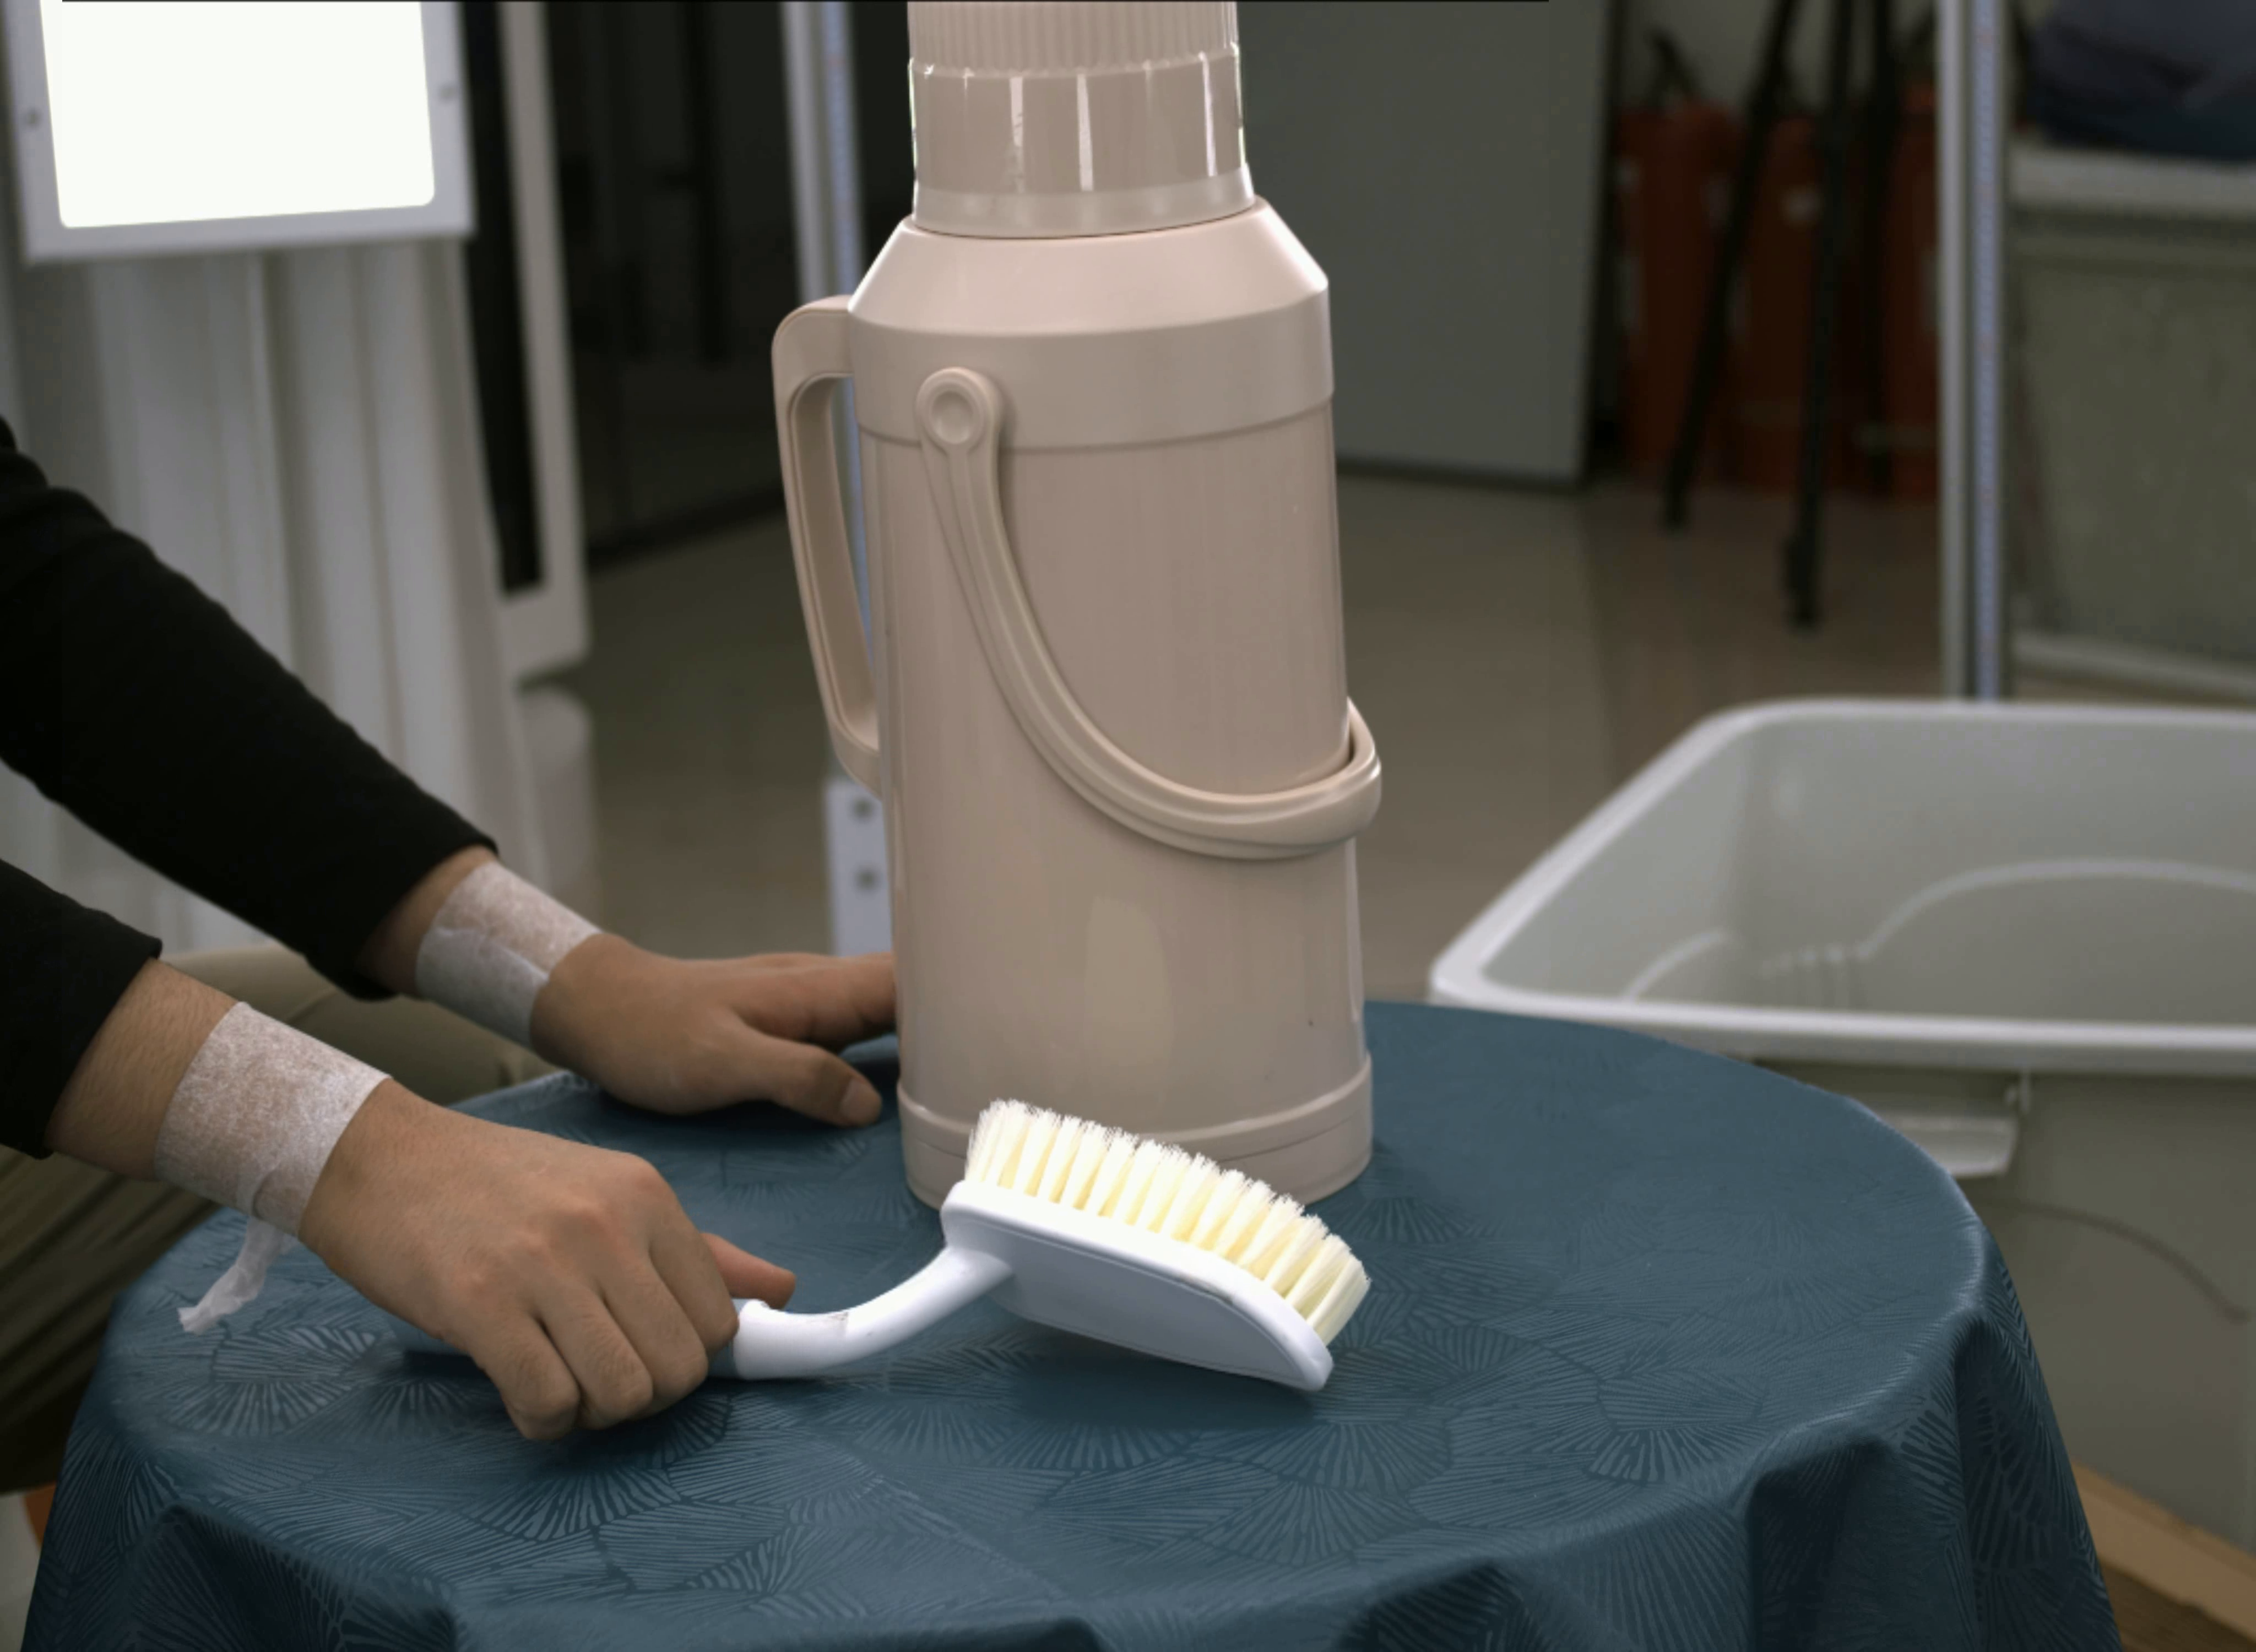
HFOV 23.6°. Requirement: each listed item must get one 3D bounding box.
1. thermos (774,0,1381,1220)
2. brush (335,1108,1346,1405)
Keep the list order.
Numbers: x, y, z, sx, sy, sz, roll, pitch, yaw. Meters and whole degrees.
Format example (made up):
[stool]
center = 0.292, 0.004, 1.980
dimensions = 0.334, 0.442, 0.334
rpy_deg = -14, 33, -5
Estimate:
[thermos]
center = -0.019, -0.082, 1.765
dimensions = 0.208, 0.410, 0.173
rpy_deg = 4, 17, 30
[brush]
center = -0.087, 0.123, 1.625
dimensions = 0.325, 0.084, 0.083
rpy_deg = 2, 17, 22
